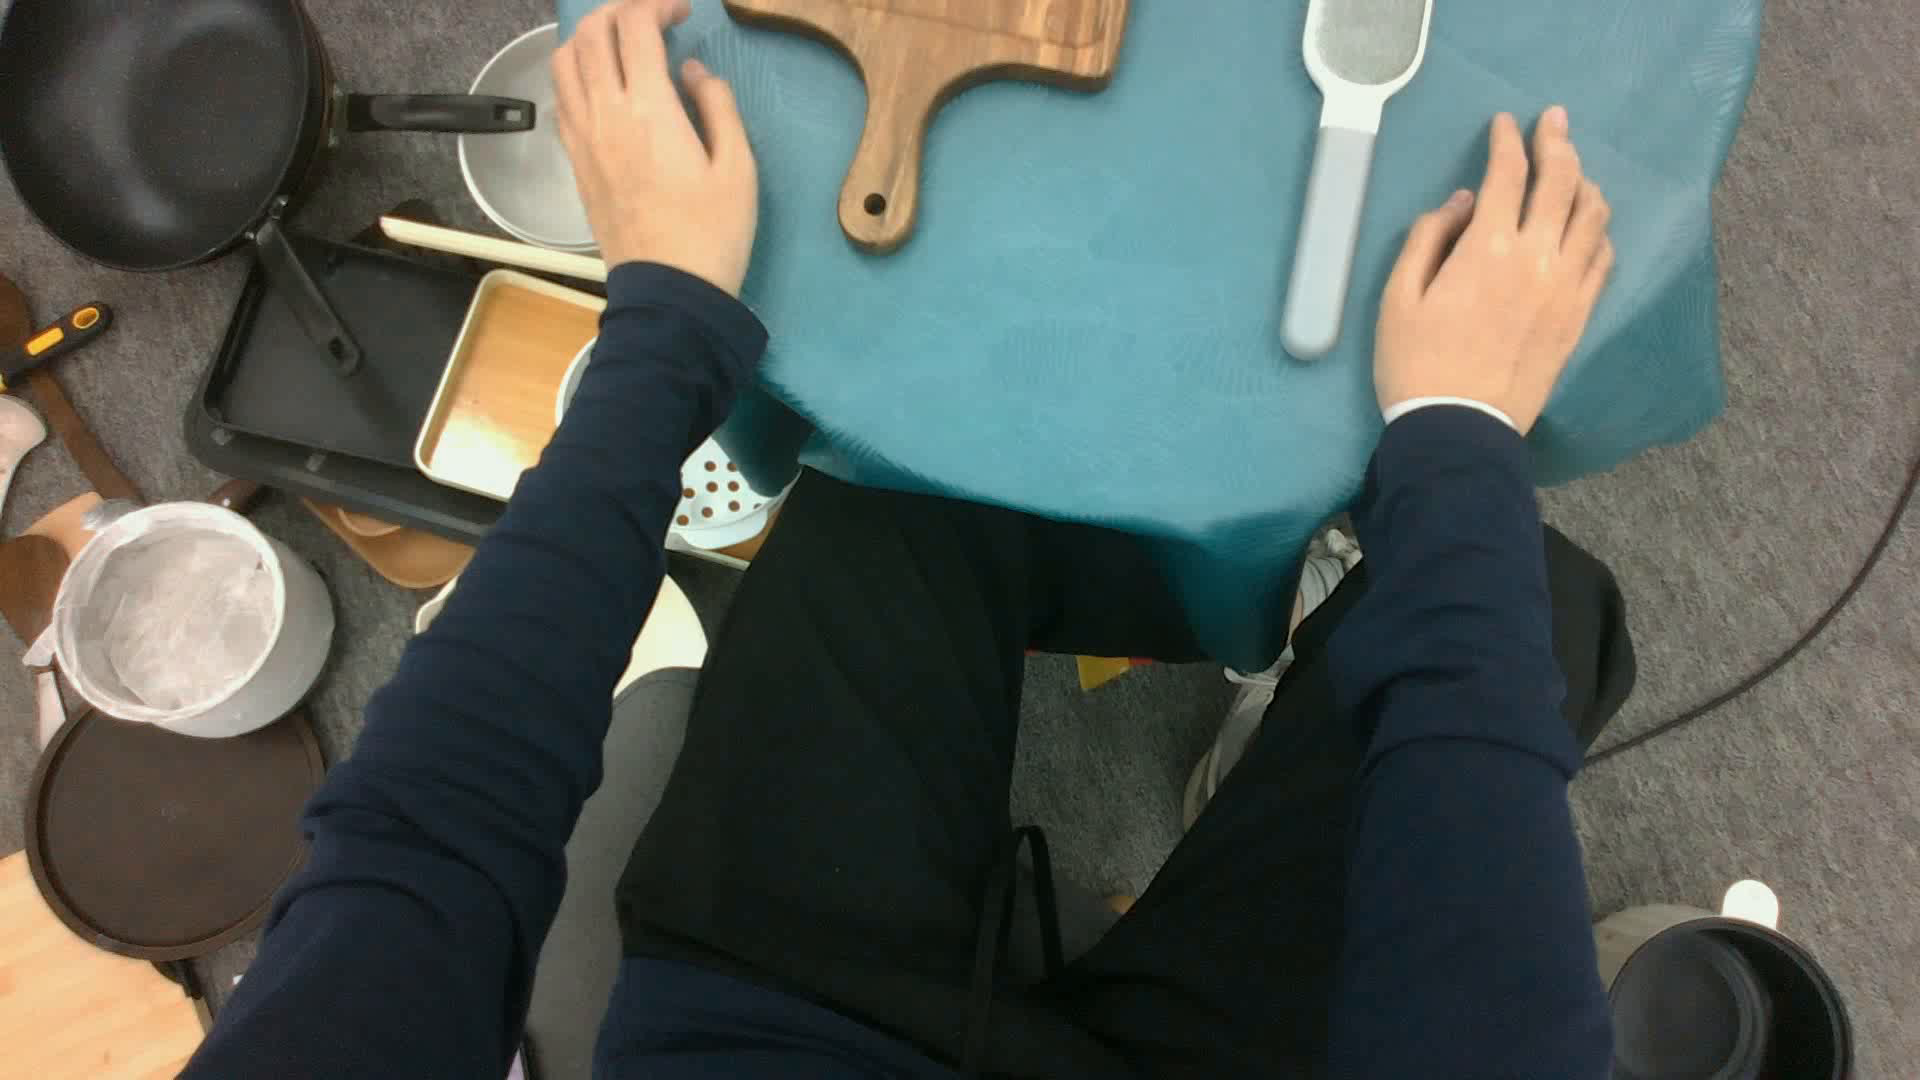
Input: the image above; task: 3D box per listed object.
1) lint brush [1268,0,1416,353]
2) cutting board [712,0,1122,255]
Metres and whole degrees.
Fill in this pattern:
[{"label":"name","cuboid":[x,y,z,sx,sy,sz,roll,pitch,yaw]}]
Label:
[{"label":"lint brush","cuboid":[0.186,-0.240,0.666,0.060,0.021,0.309,12,84,-3]},{"label":"cutting board","cuboid":[-0.013,-0.312,0.682,0.201,0.023,0.352,12,84,2]}]
